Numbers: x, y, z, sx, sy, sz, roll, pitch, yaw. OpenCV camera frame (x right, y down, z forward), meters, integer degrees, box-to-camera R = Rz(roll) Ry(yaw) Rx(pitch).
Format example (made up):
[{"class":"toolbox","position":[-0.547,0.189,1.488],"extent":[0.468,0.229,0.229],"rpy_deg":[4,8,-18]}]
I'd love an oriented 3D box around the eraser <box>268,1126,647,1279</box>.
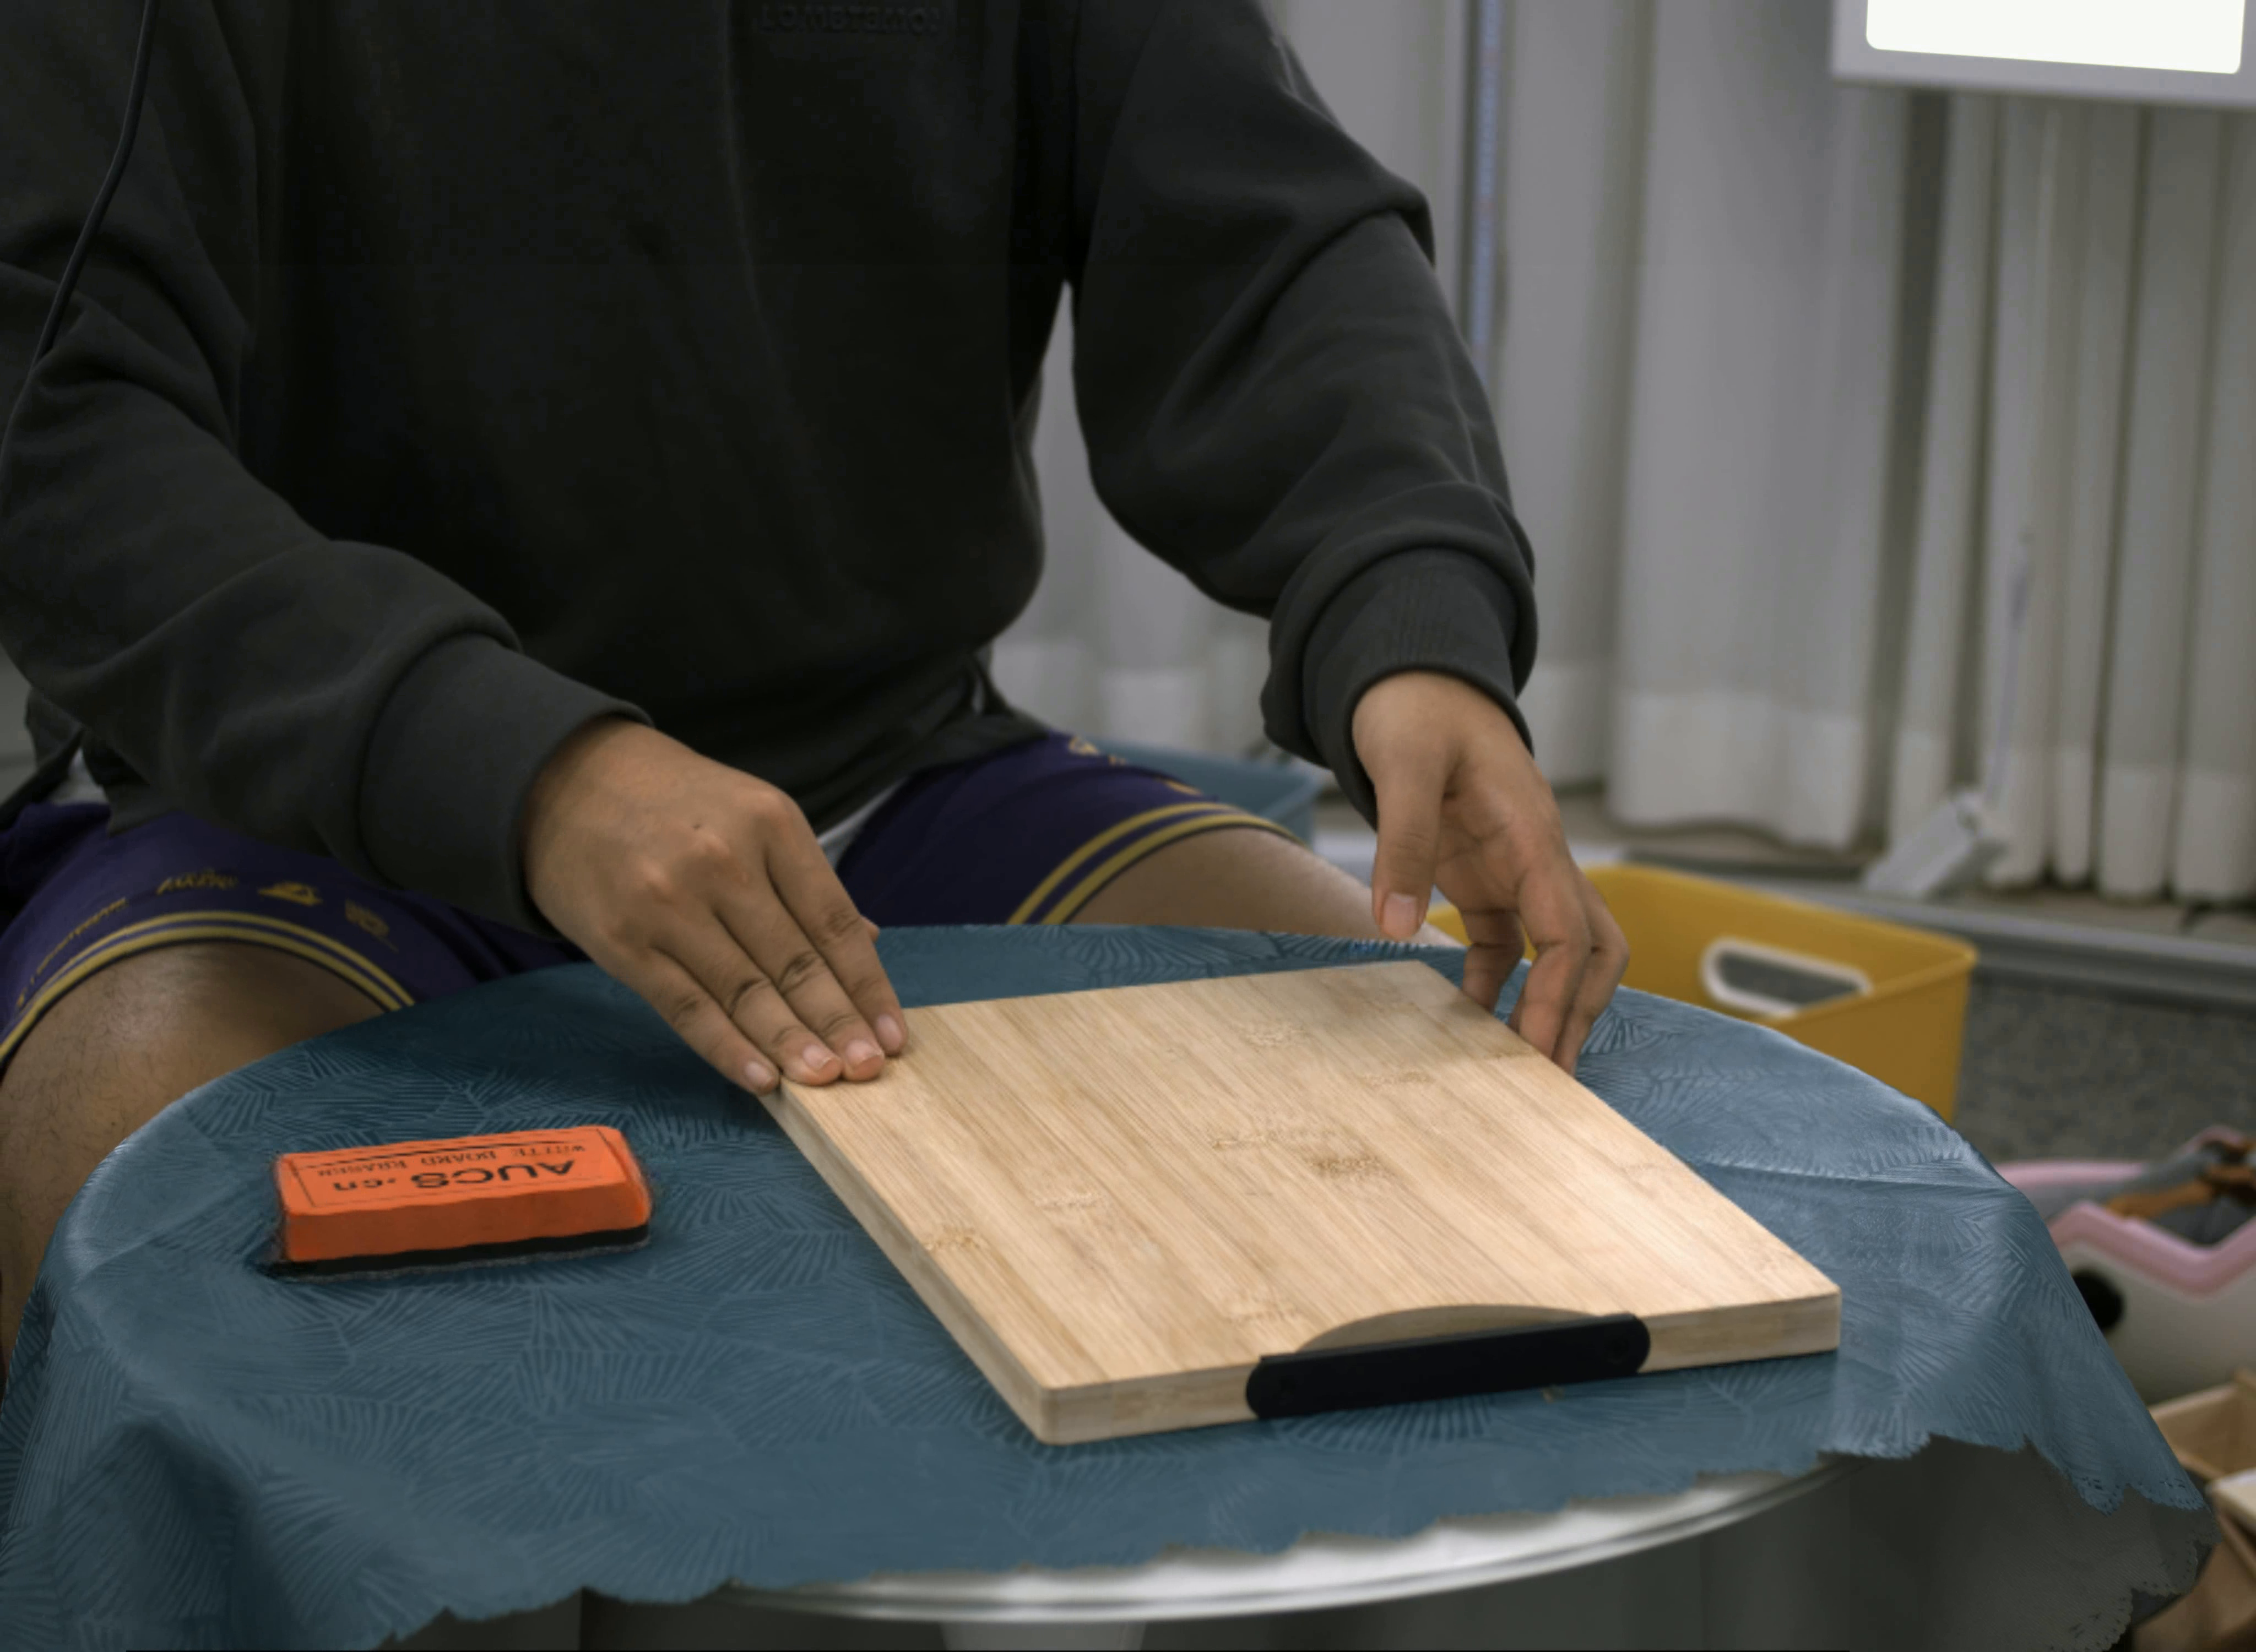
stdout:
[{"class":"eraser","position":[-0.200,0.112,1.572],"extent":[0.108,0.023,0.058],"rpy_deg":[-3,16,-17]}]

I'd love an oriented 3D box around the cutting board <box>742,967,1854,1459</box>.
[{"class":"cutting board","position":[0.039,0.109,1.604],"extent":[0.251,0.024,0.345],"rpy_deg":[-5,17,-18]}]
